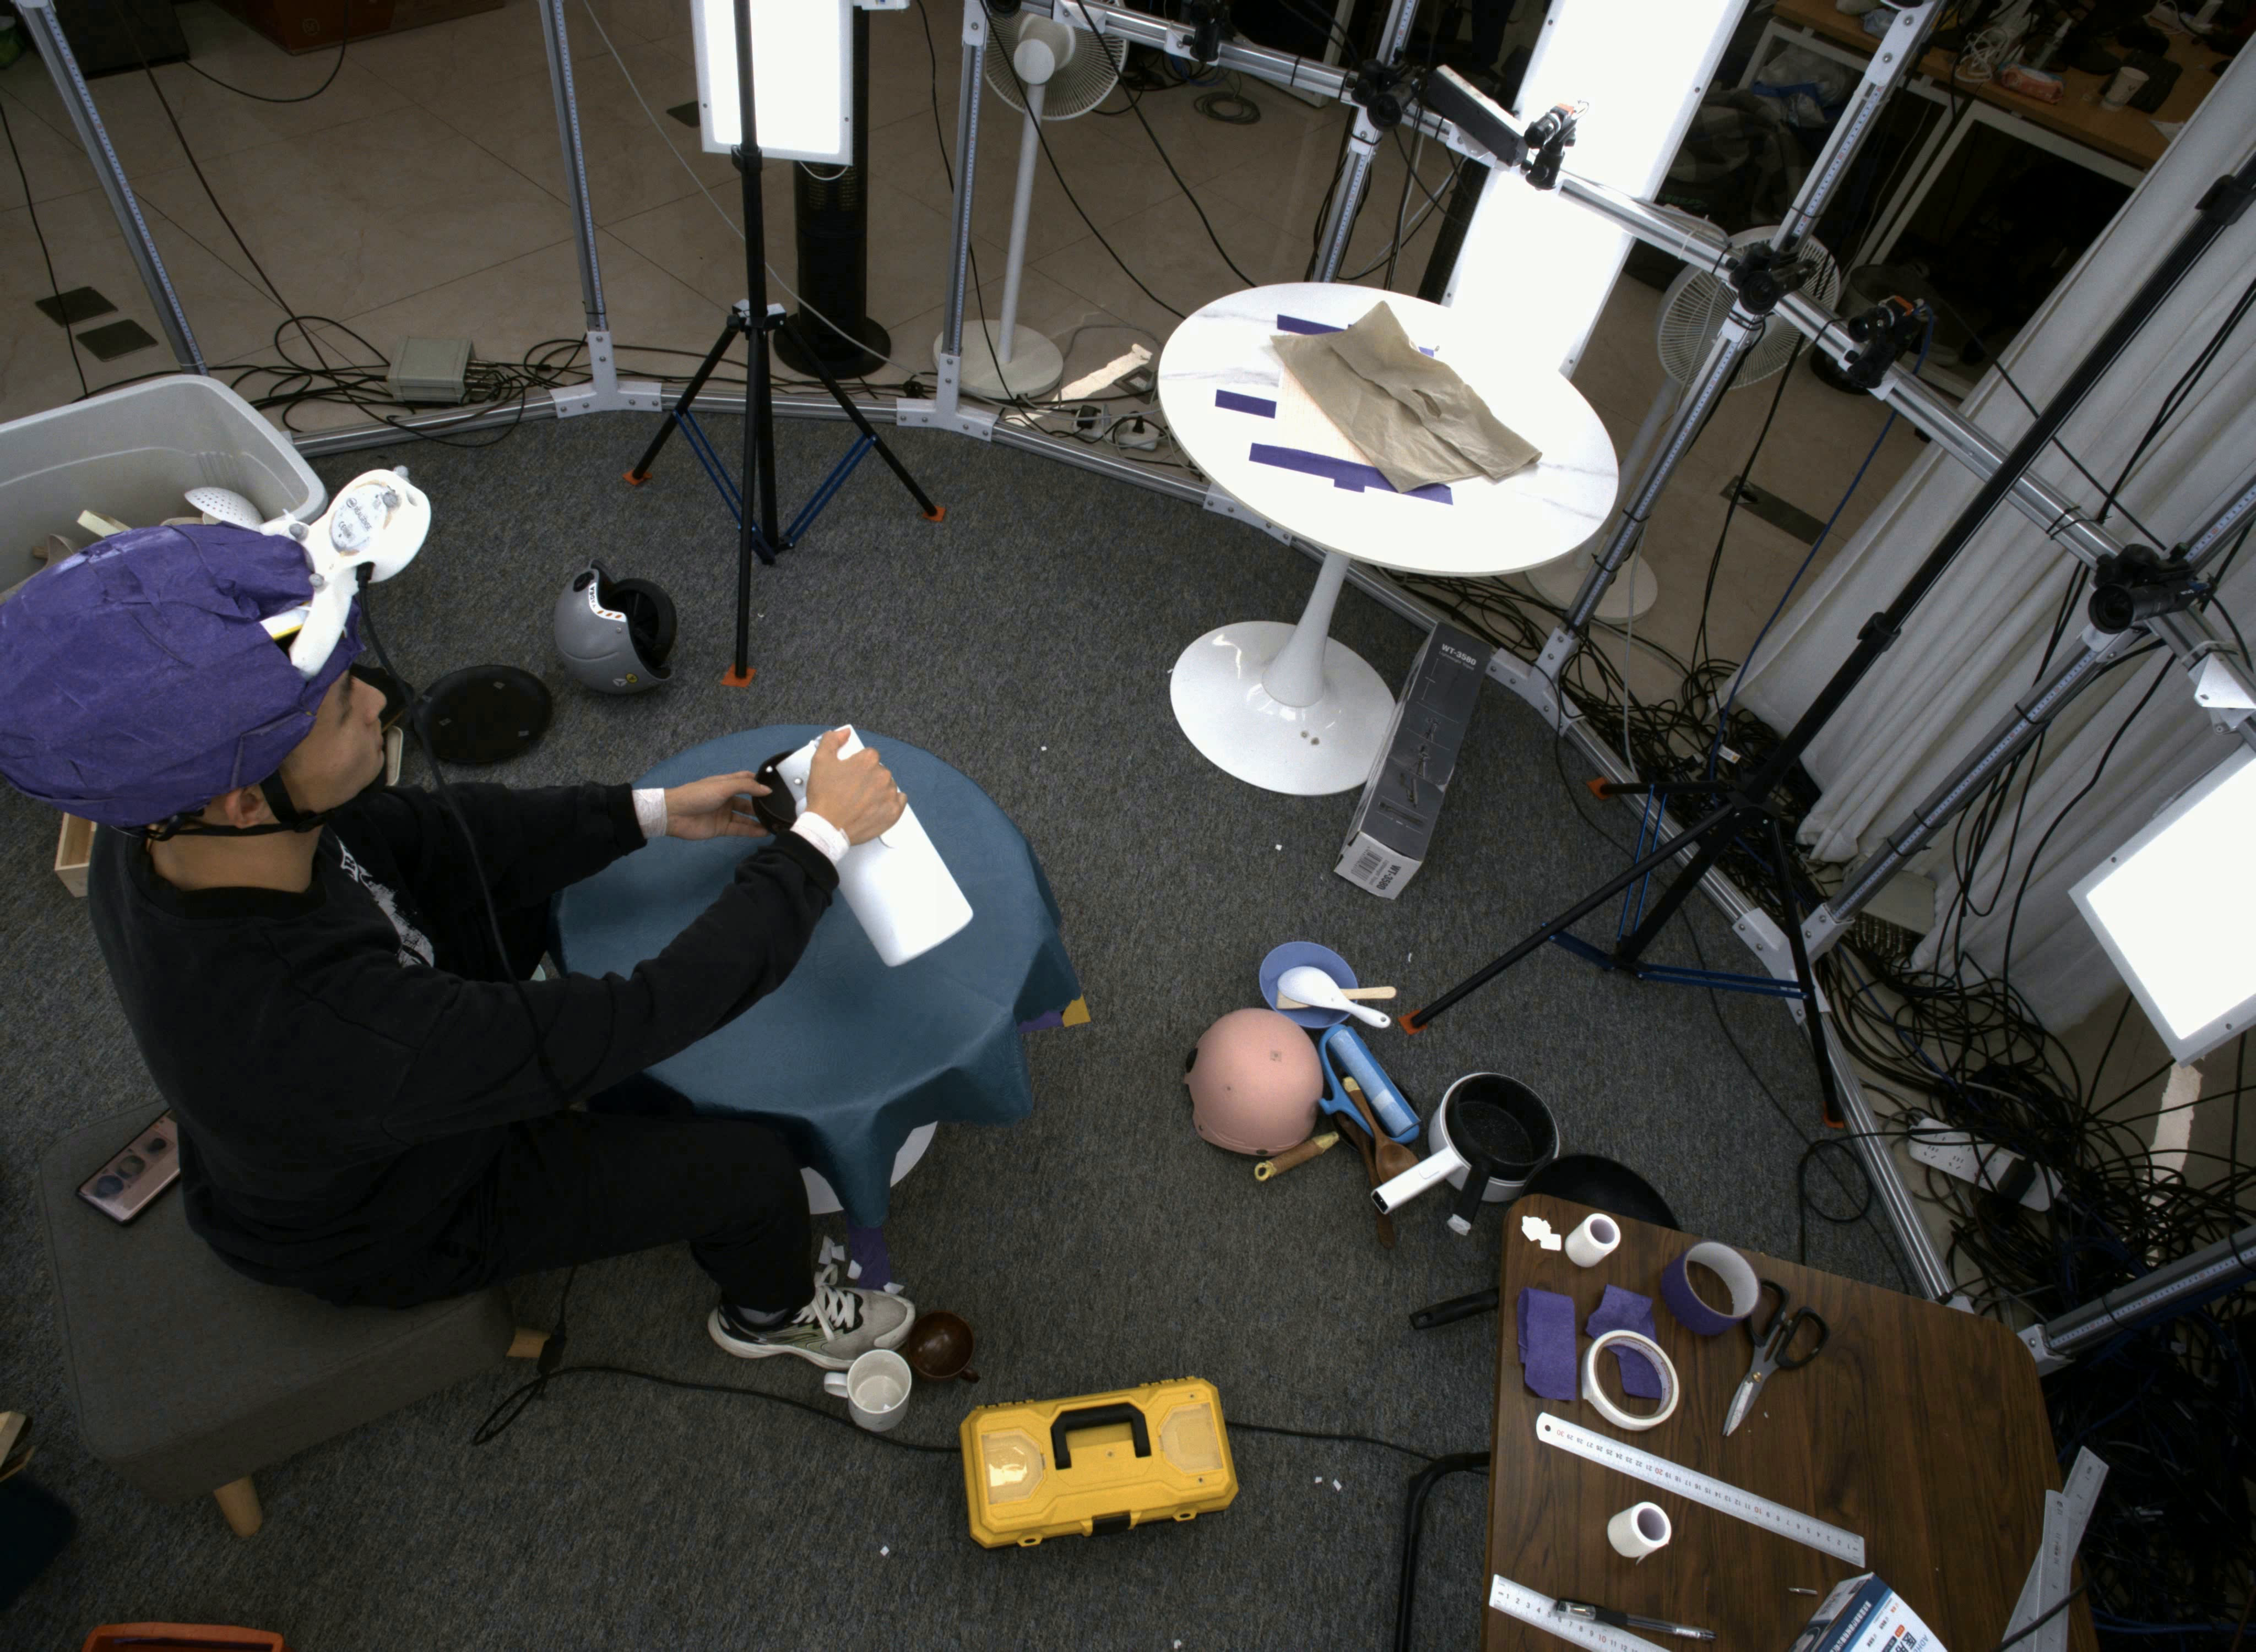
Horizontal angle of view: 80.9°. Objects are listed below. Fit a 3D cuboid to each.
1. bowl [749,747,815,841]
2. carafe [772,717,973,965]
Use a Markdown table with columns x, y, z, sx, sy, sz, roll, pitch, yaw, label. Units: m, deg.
| x | y | z | sx | sy | sz | roll | pitch | yaw | label |
| --- | --- | --- | --- | --- | --- | --- | --- | --- | --- |
| -0.417 | -0.033 | 1.629 | 0.118 | 0.070 | 0.116 | 11 | 54 | -14 | bowl |
| -0.285 | 0.013 | 1.465 | 0.124 | 0.170 | 0.273 | -32 | 97 | -26 | carafe |
